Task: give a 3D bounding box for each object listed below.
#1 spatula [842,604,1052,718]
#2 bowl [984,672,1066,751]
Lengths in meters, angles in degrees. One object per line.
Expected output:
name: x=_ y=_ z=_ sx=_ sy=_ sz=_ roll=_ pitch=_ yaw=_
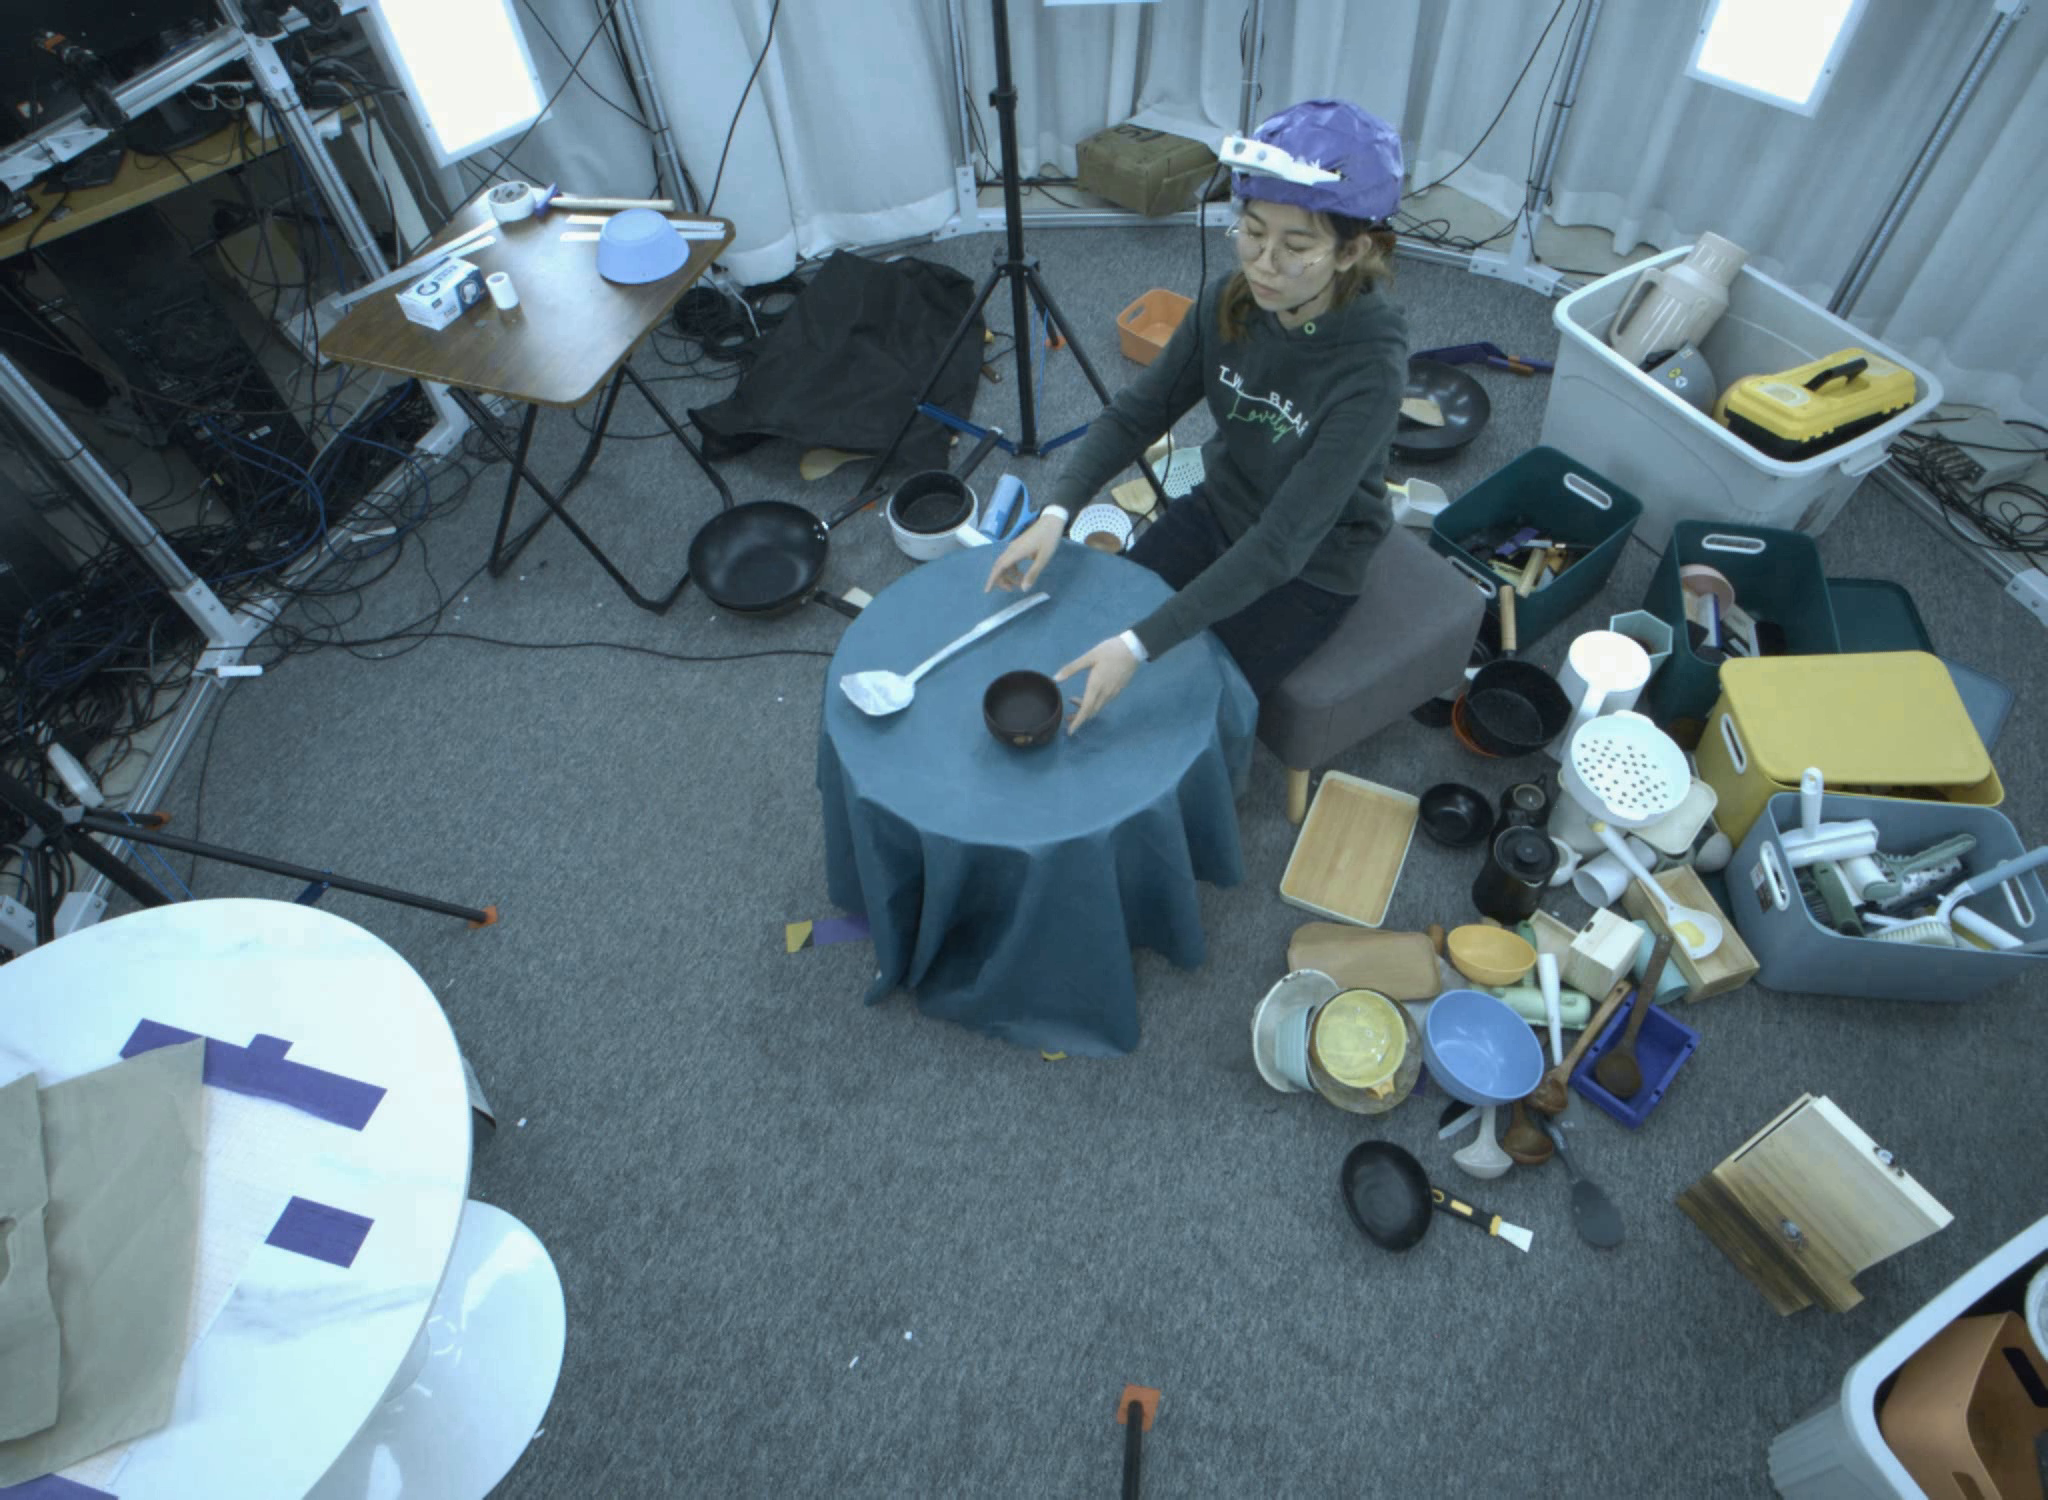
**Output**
spatula: x=-0.109 y=-0.151 z=1.884 sx=0.368 sy=0.045 sz=0.097 roll=-33 pitch=58 yaw=-20
bowl: x=0.002 y=-0.048 z=1.787 sx=0.118 sy=0.070 sz=0.117 roll=0 pitch=56 yaw=1
